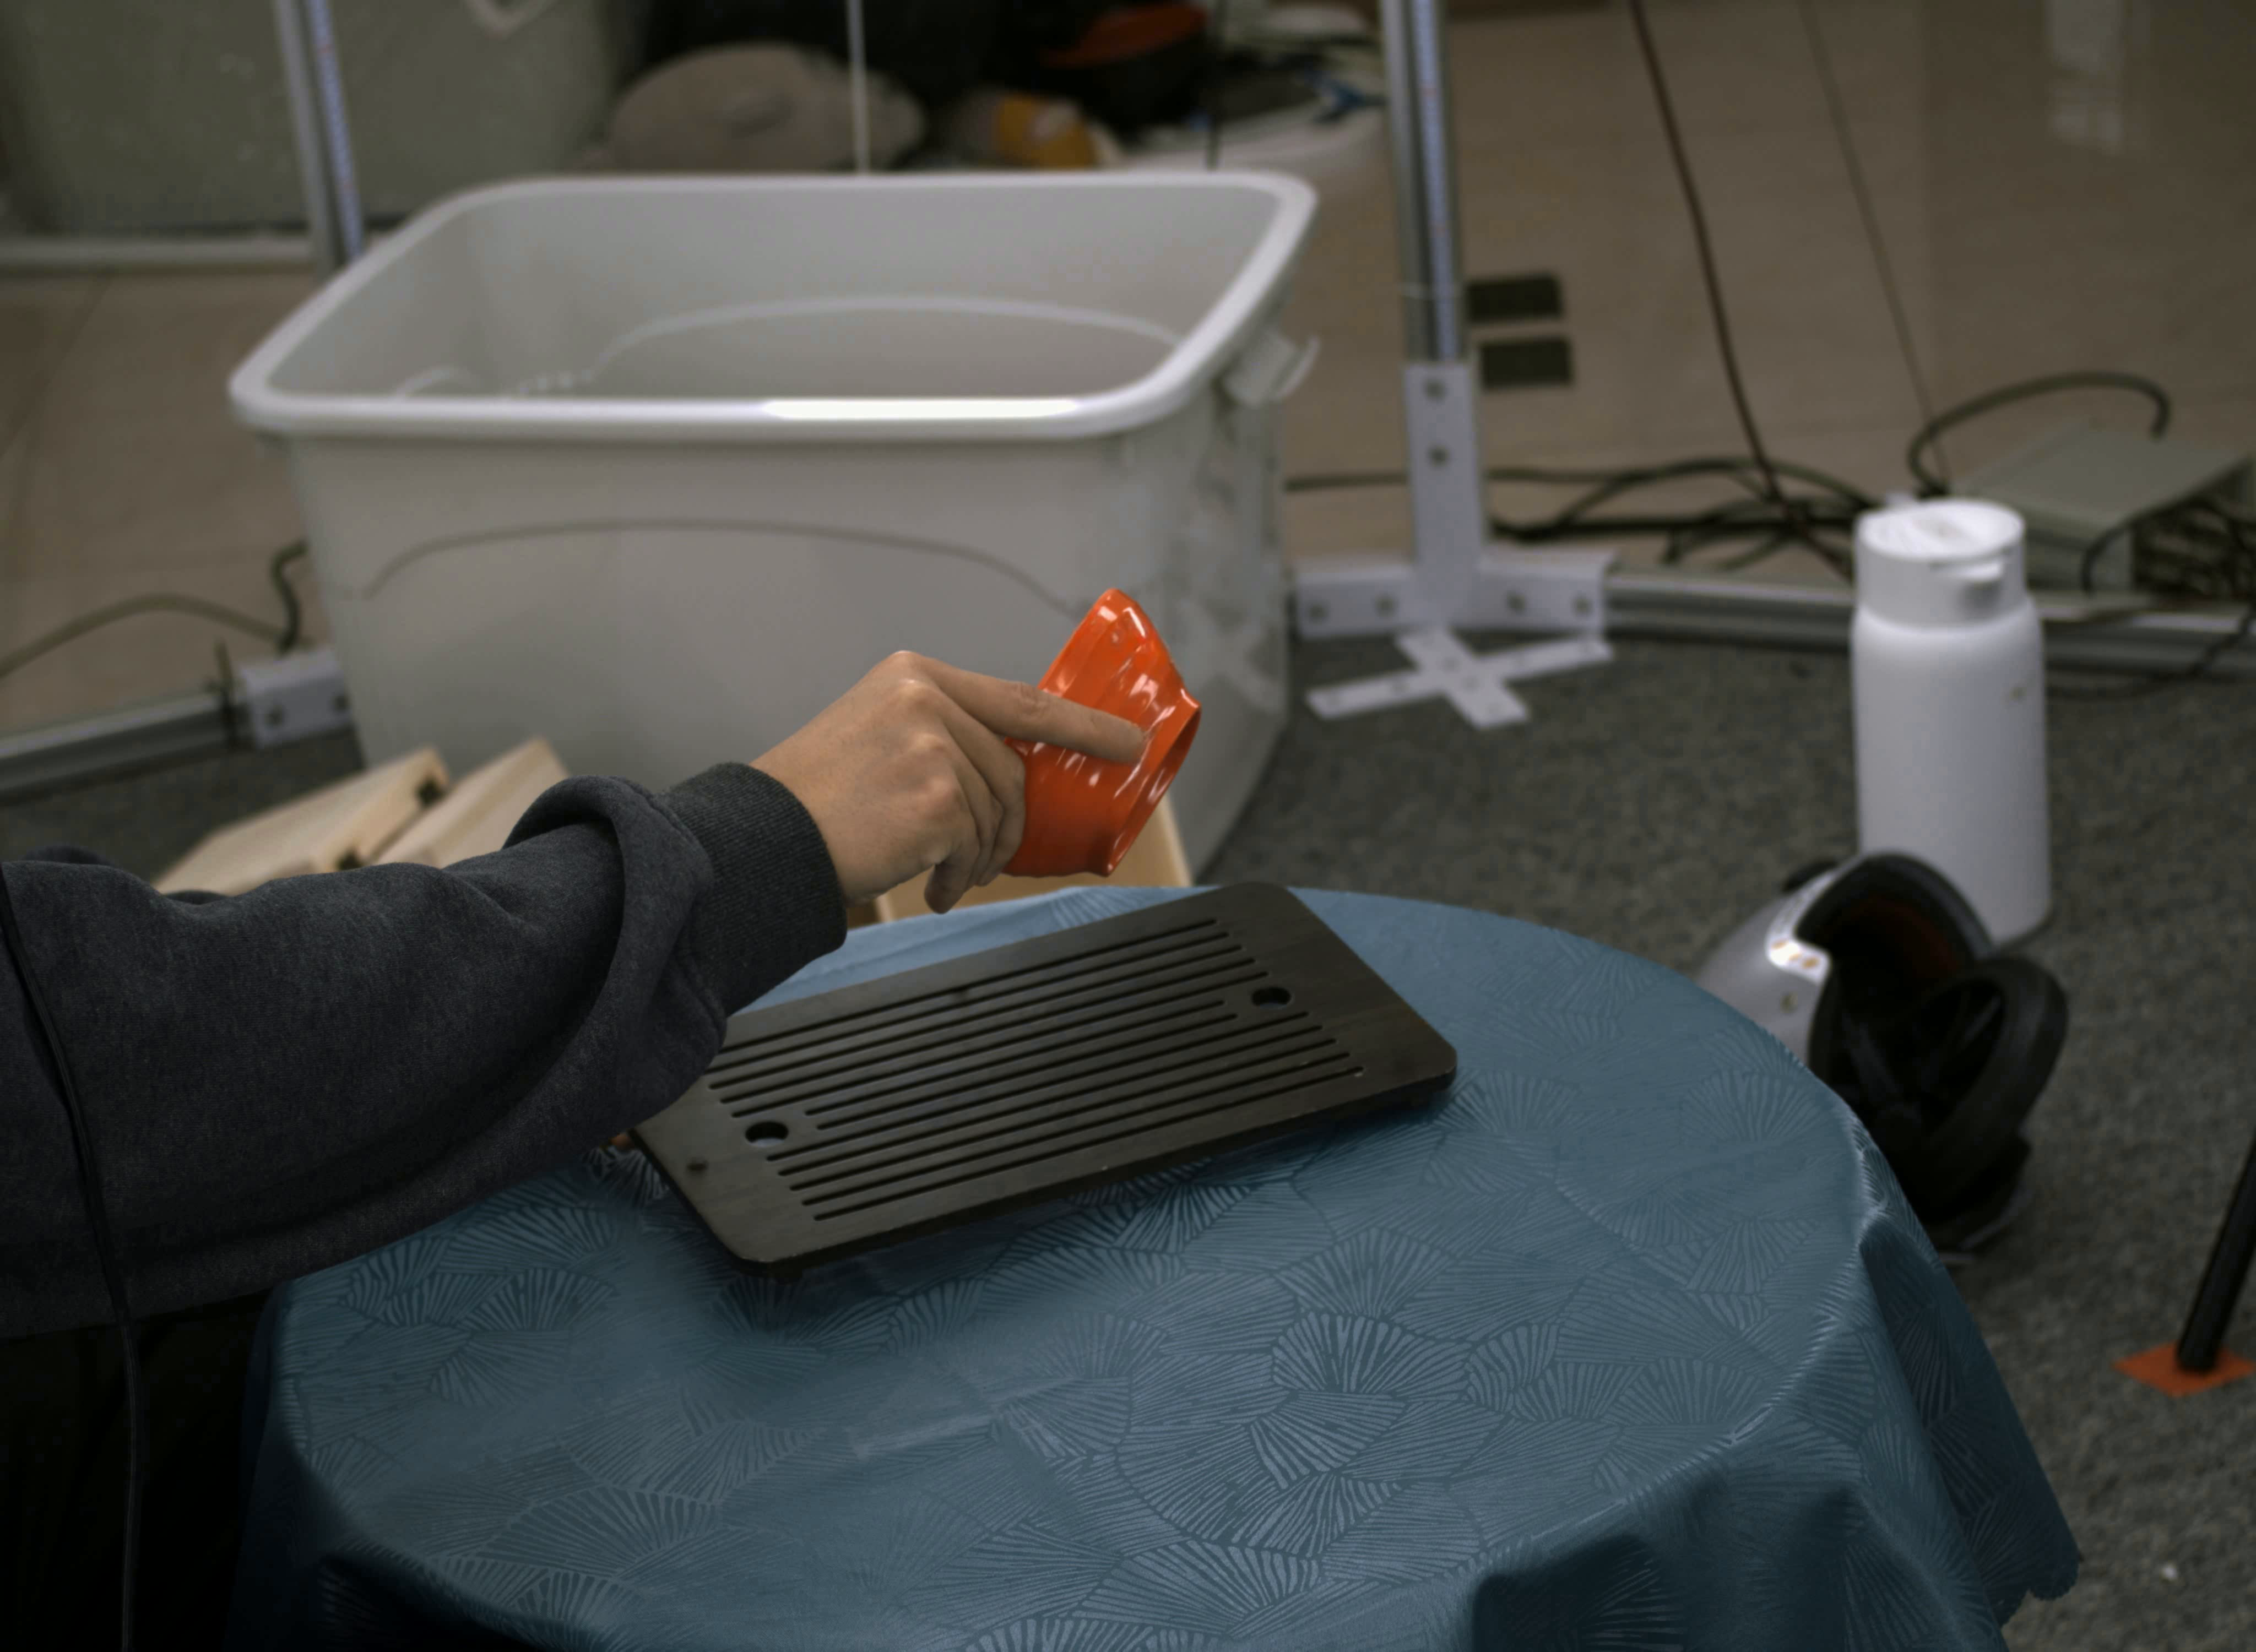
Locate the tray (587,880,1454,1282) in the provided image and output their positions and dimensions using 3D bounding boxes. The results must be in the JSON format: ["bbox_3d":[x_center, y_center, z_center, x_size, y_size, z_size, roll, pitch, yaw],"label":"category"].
[{"bbox_3d":[-0.042,0.097,2.193,0.304,0.019,0.168,-15,32,-21],"label":"tray"}]

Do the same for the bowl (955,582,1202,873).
[{"bbox_3d":[-0.013,-0.026,2.053,0.051,0.121,0.117,32,33,5],"label":"bowl"}]
